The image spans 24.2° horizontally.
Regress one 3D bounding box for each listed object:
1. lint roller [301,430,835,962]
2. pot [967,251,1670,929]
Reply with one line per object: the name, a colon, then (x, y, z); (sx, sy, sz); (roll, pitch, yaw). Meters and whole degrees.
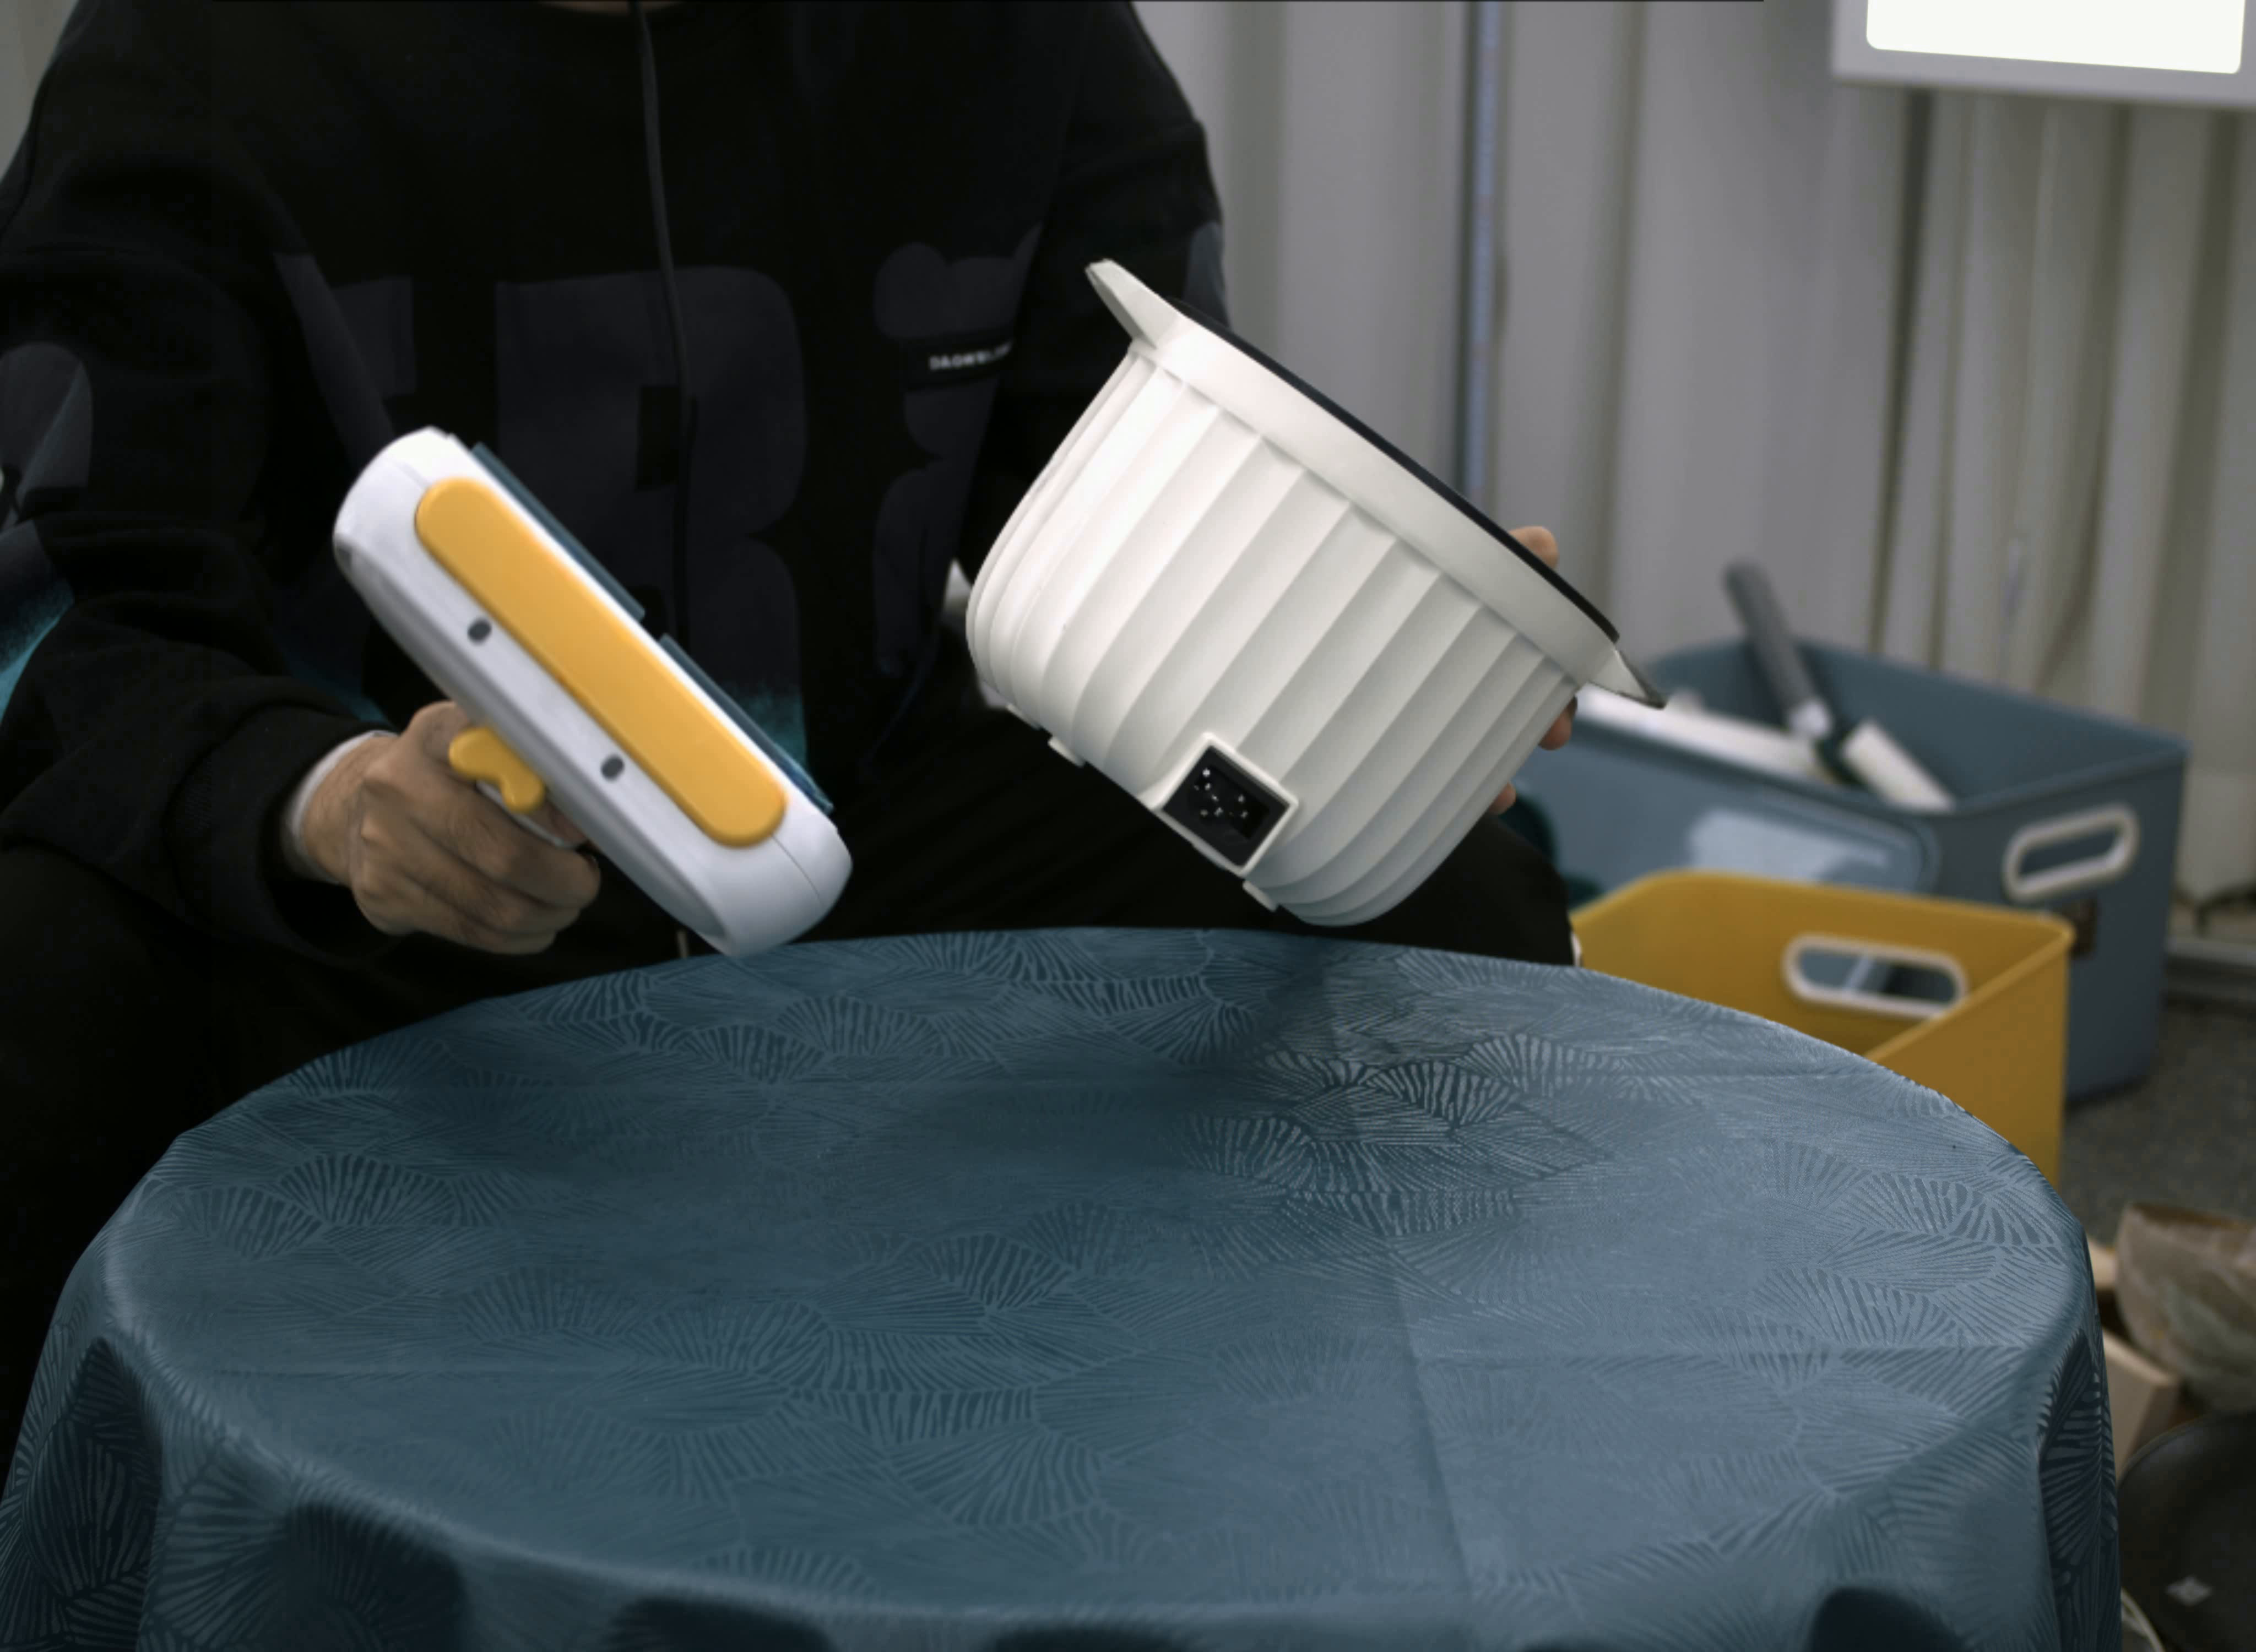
lint roller: (-0.181, -0.015, 1.627); (0.192, 0.193, 0.074); (38, 68, 5)
pot: (0.042, -0.062, 1.676); (0.242, 0.143, 0.189); (38, 3, -16)
